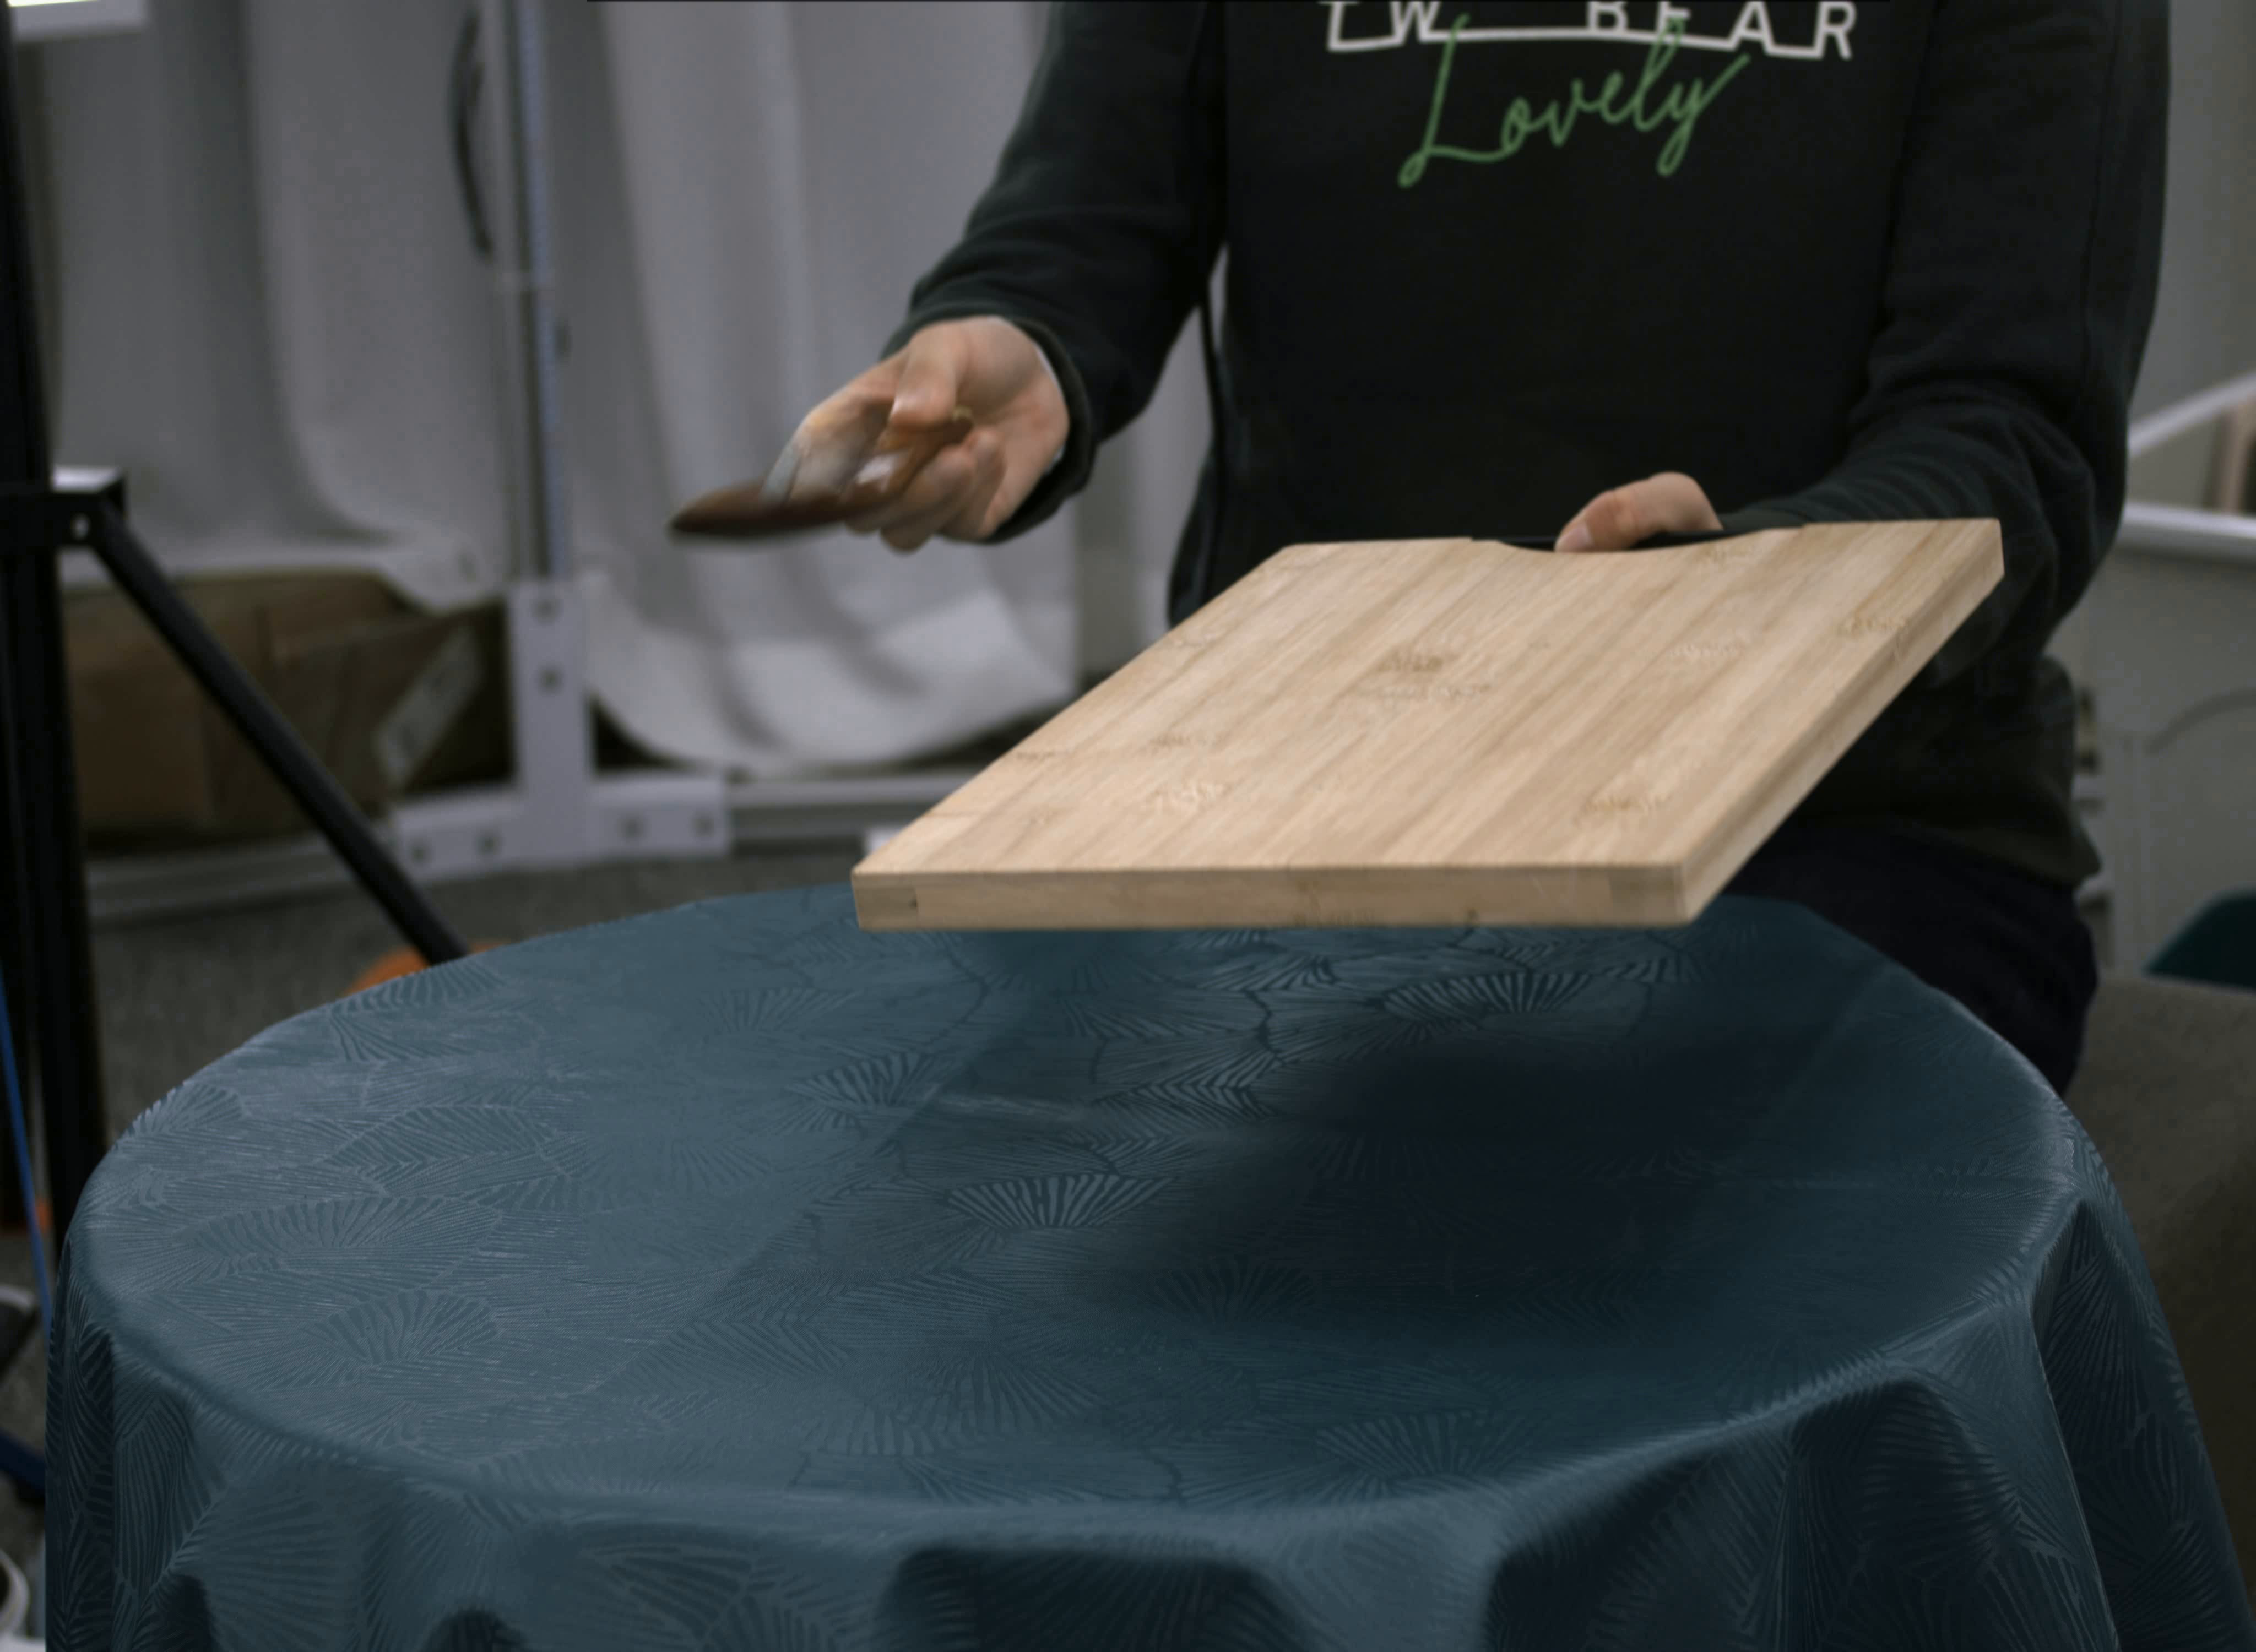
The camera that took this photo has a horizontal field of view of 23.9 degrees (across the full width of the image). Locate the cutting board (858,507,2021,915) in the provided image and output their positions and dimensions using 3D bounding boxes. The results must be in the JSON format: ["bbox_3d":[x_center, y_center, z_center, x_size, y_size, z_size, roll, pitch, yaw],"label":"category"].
[{"bbox_3d":[0.101,-0.036,1.551,0.254,0.023,0.344,-1,17,24],"label":"cutting board"}]

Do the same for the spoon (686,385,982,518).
[{"bbox_3d":[-0.080,-0.116,1.650,0.076,0.017,0.214,-12,8,15],"label":"spoon"}]
